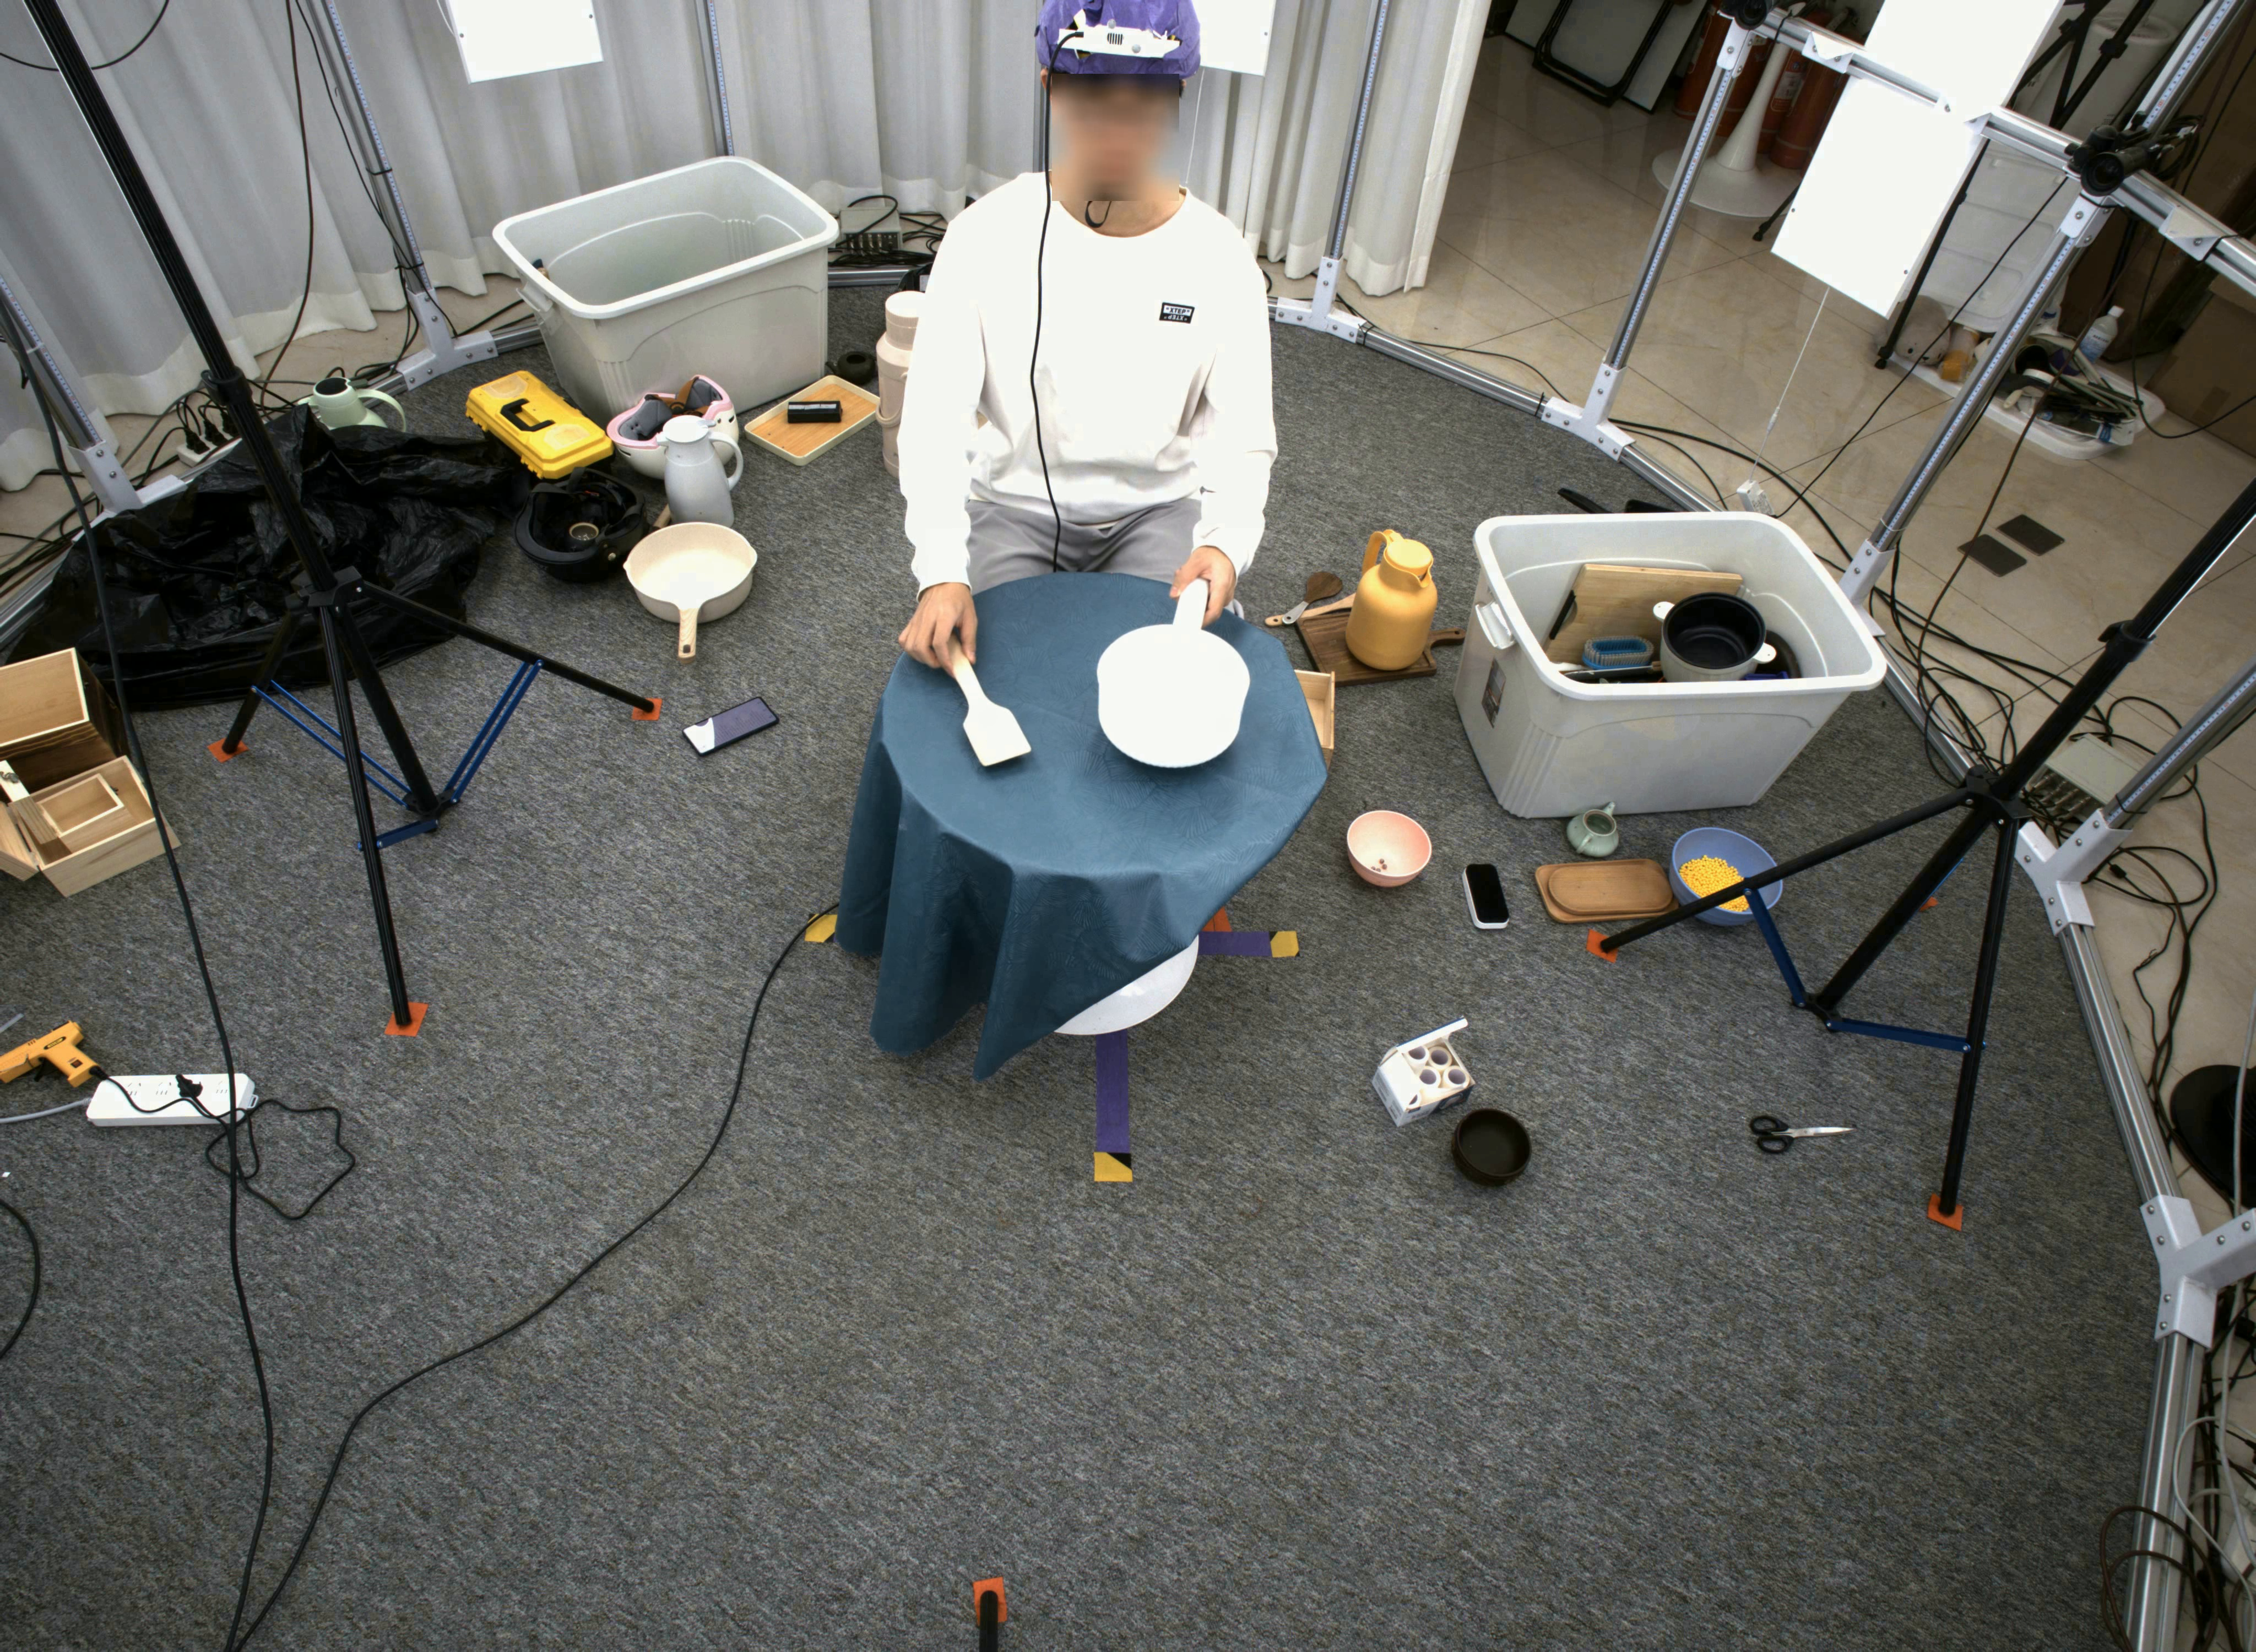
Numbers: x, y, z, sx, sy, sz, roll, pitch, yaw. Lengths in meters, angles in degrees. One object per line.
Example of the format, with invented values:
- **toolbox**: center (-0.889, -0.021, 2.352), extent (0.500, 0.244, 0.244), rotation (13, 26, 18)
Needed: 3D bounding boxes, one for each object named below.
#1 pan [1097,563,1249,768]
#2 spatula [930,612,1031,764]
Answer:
- **pan**: center (0.072, -0.224, 1.780), extent (0.201, 0.099, 0.363), rotation (8, 46, 6)
- **spatula**: center (-0.219, -0.199, 1.791), extent (0.072, 0.010, 0.299), rotation (-19, 55, -14)
